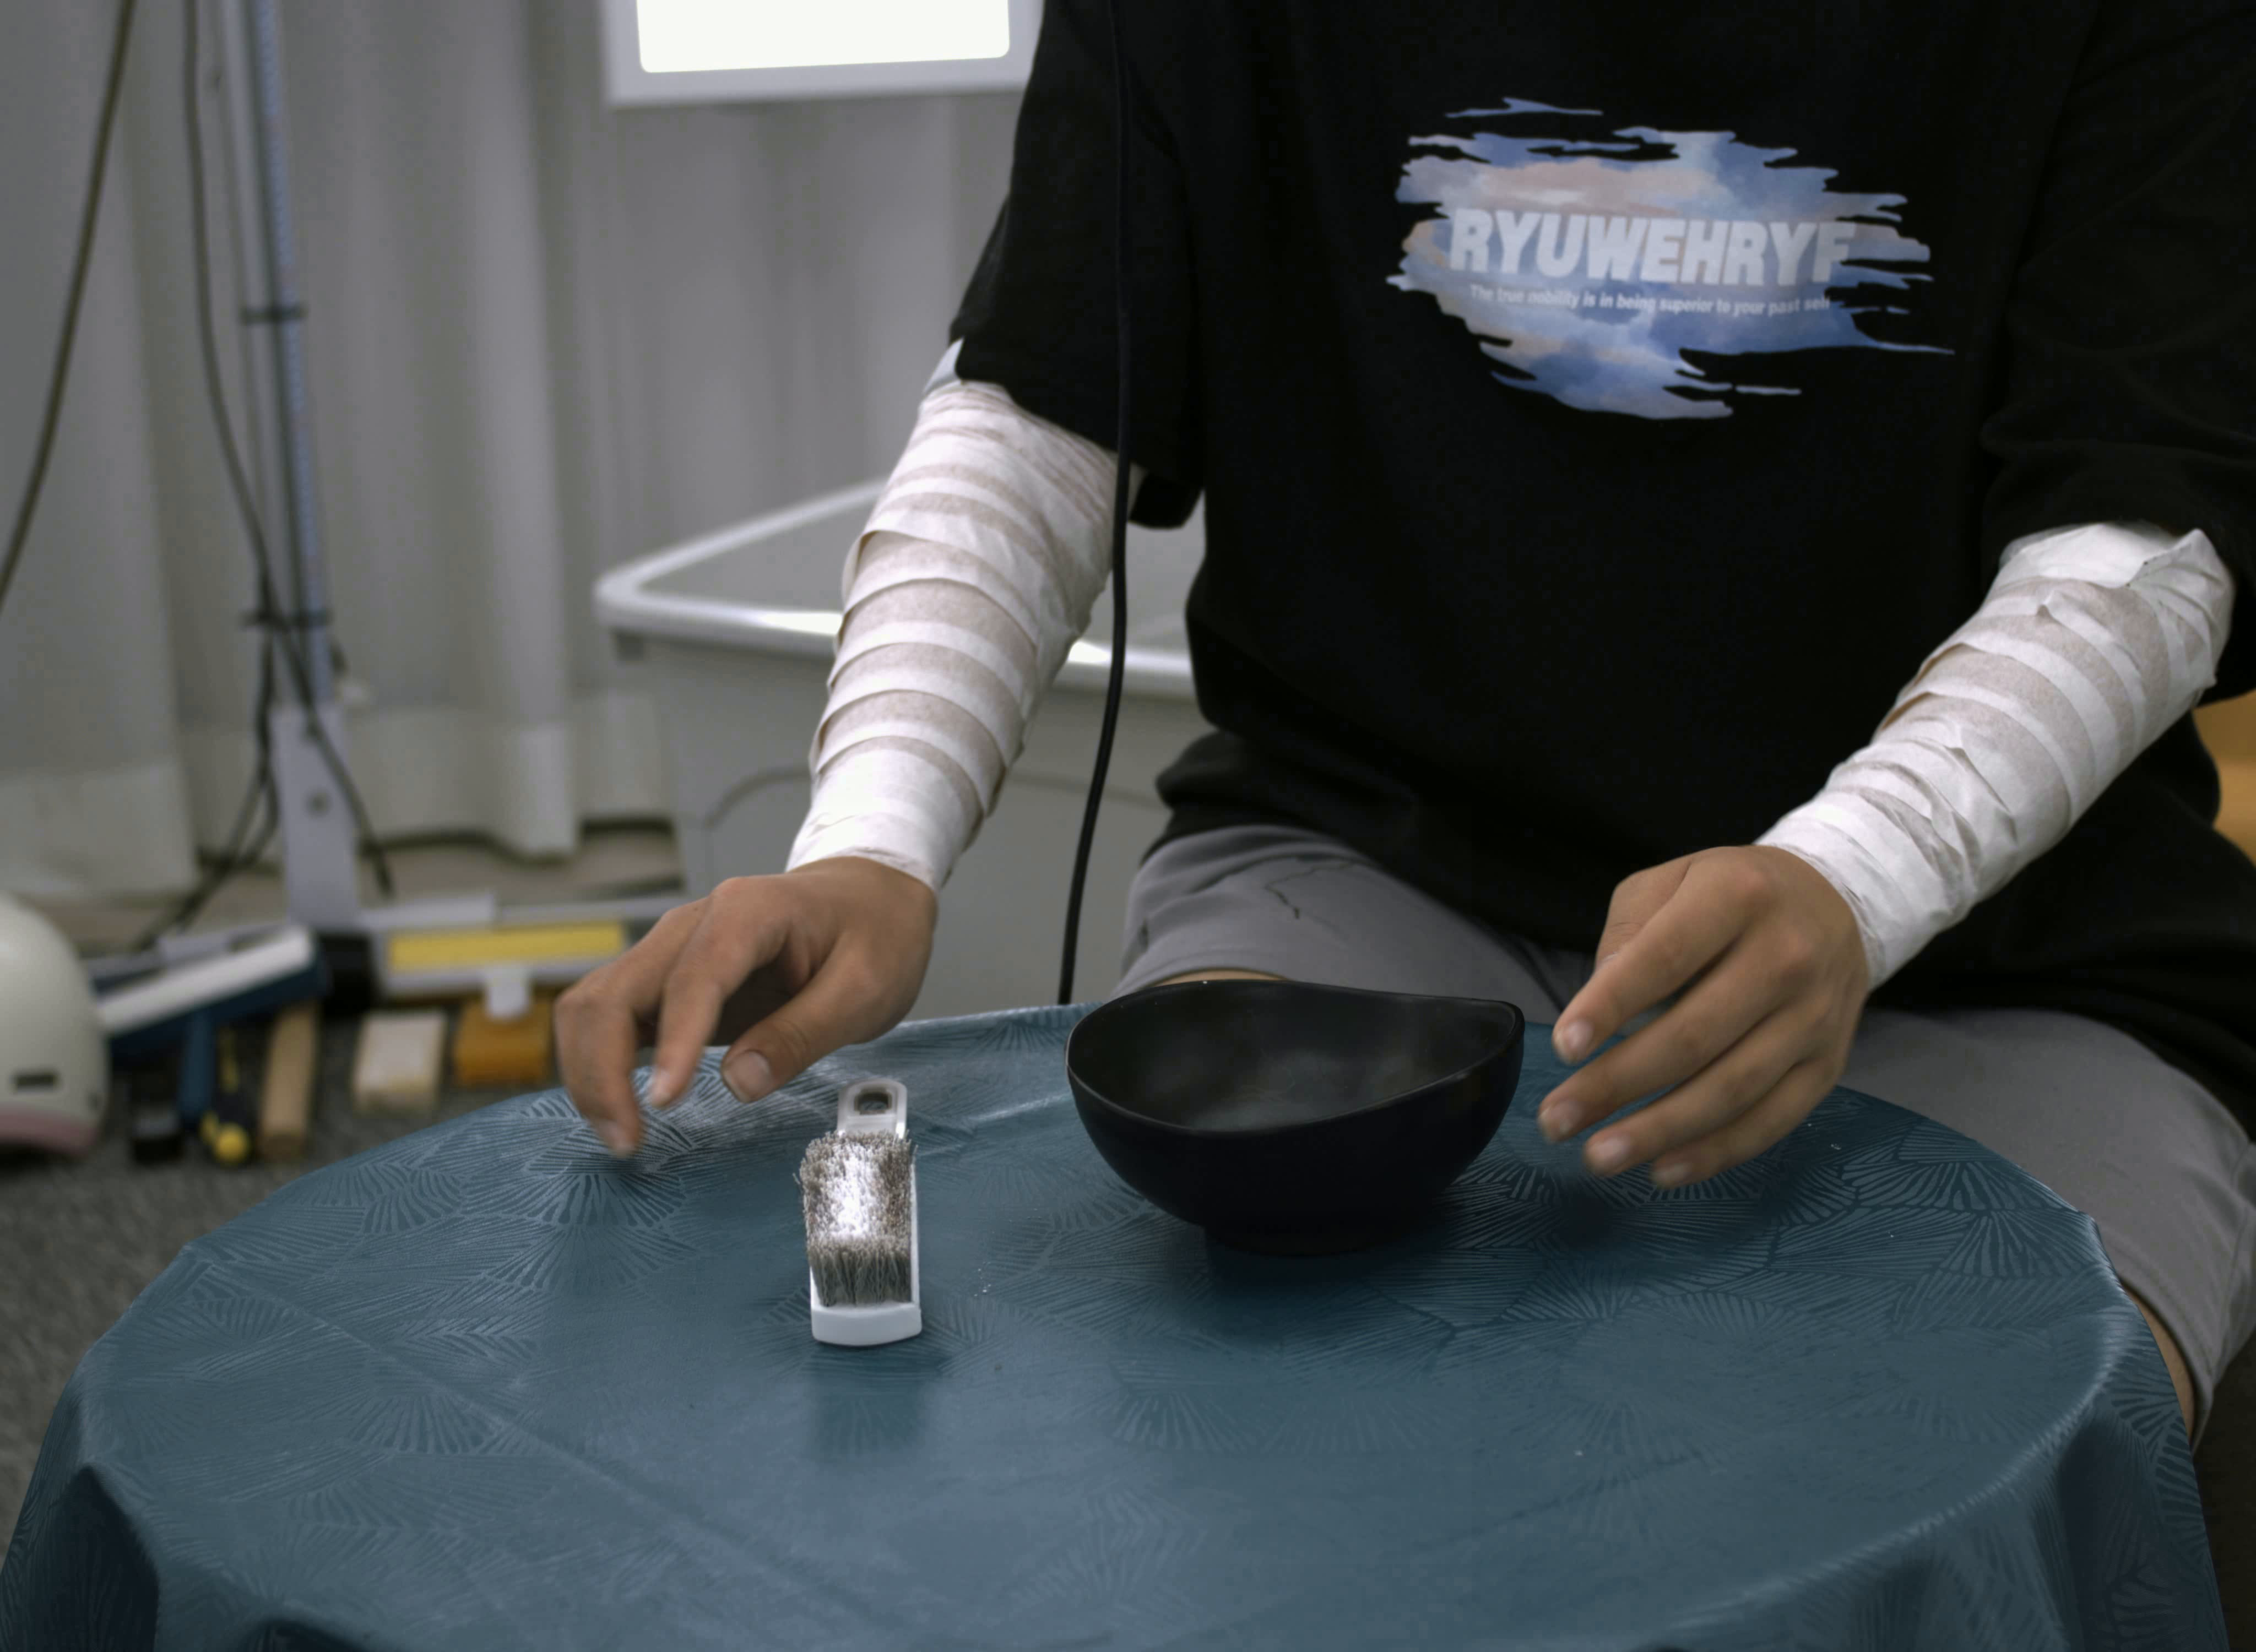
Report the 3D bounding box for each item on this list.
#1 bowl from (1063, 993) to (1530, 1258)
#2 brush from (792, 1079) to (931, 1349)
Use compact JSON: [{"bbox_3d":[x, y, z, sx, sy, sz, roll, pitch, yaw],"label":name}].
[{"bbox_3d":[0.053,0.092,1.667,0.137,0.066,0.170,4,14,23],"label":"bowl"},{"bbox_3d":[-0.079,0.100,1.689,0.034,0.050,0.245,-4,15,2],"label":"brush"}]
